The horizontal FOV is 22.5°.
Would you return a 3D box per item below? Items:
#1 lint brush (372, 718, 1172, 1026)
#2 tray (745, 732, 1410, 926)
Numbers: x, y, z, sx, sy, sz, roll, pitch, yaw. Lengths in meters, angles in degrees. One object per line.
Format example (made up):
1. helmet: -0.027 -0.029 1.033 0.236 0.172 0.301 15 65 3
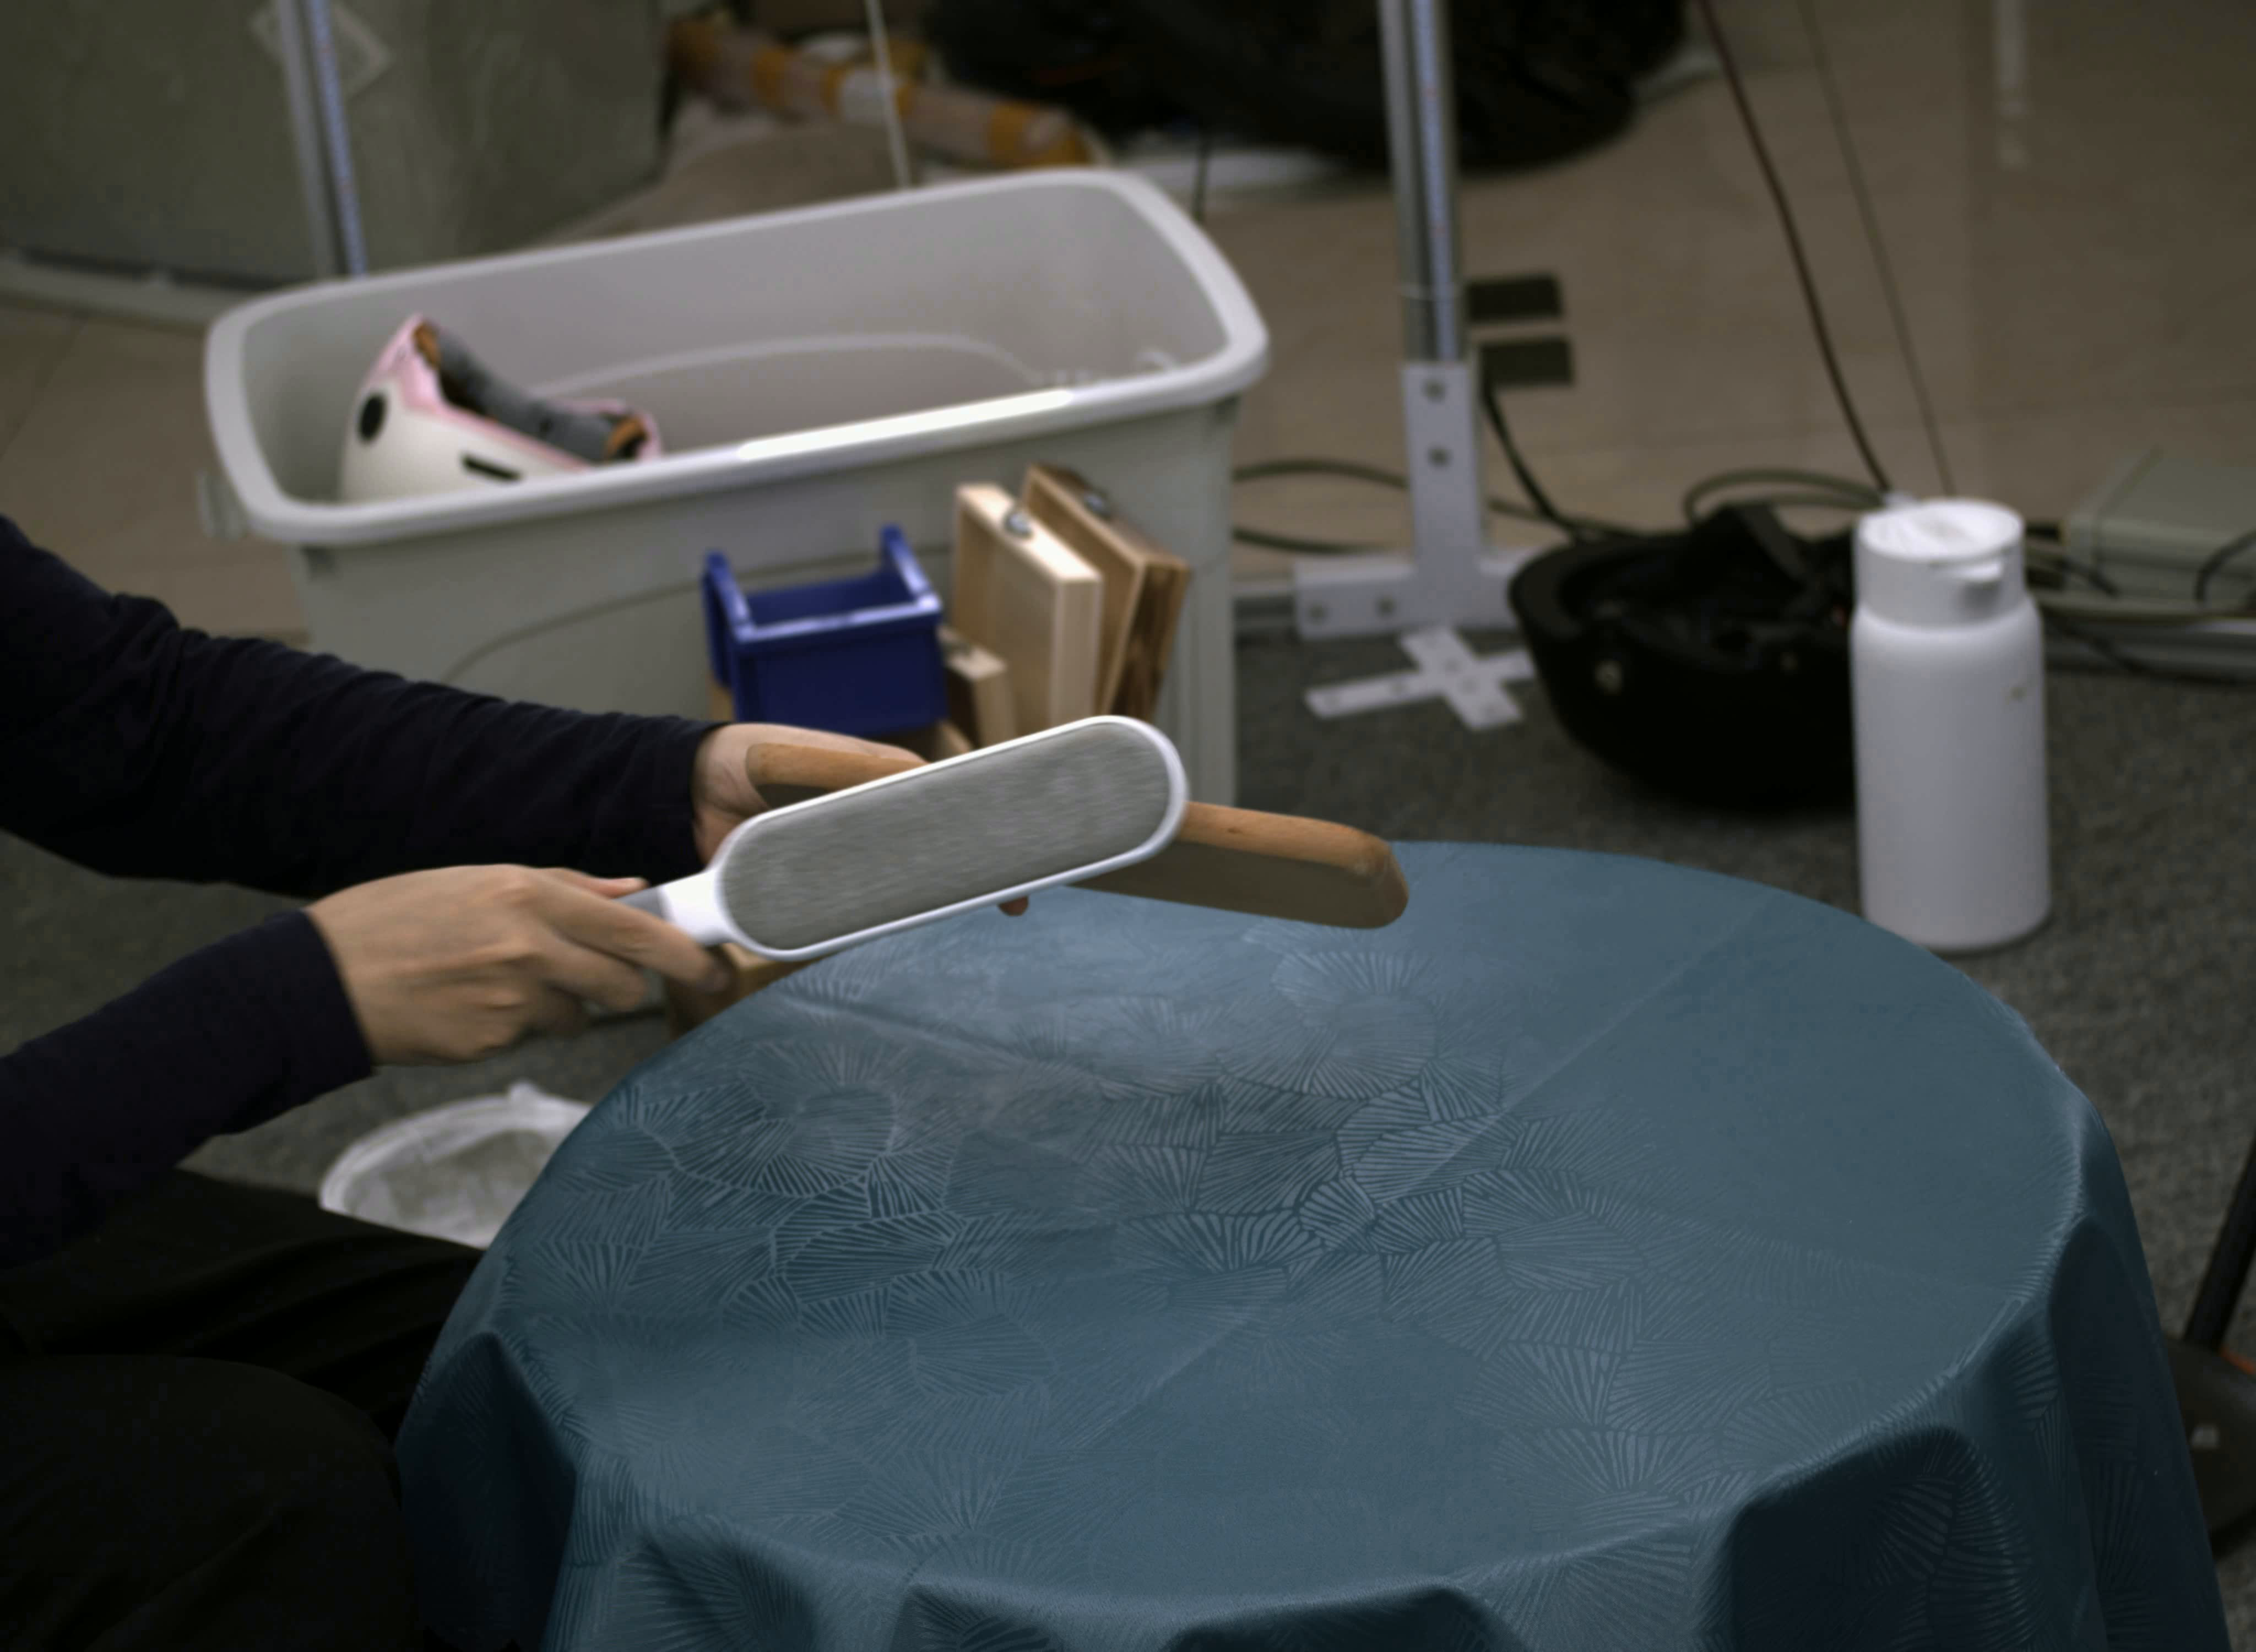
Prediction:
1. lint brush: -0.132 0.021 2.097 0.308 0.060 0.021 -16 -2 3
2. tray: -0.020 0.002 2.169 0.250 0.023 0.132 8 -15 12
